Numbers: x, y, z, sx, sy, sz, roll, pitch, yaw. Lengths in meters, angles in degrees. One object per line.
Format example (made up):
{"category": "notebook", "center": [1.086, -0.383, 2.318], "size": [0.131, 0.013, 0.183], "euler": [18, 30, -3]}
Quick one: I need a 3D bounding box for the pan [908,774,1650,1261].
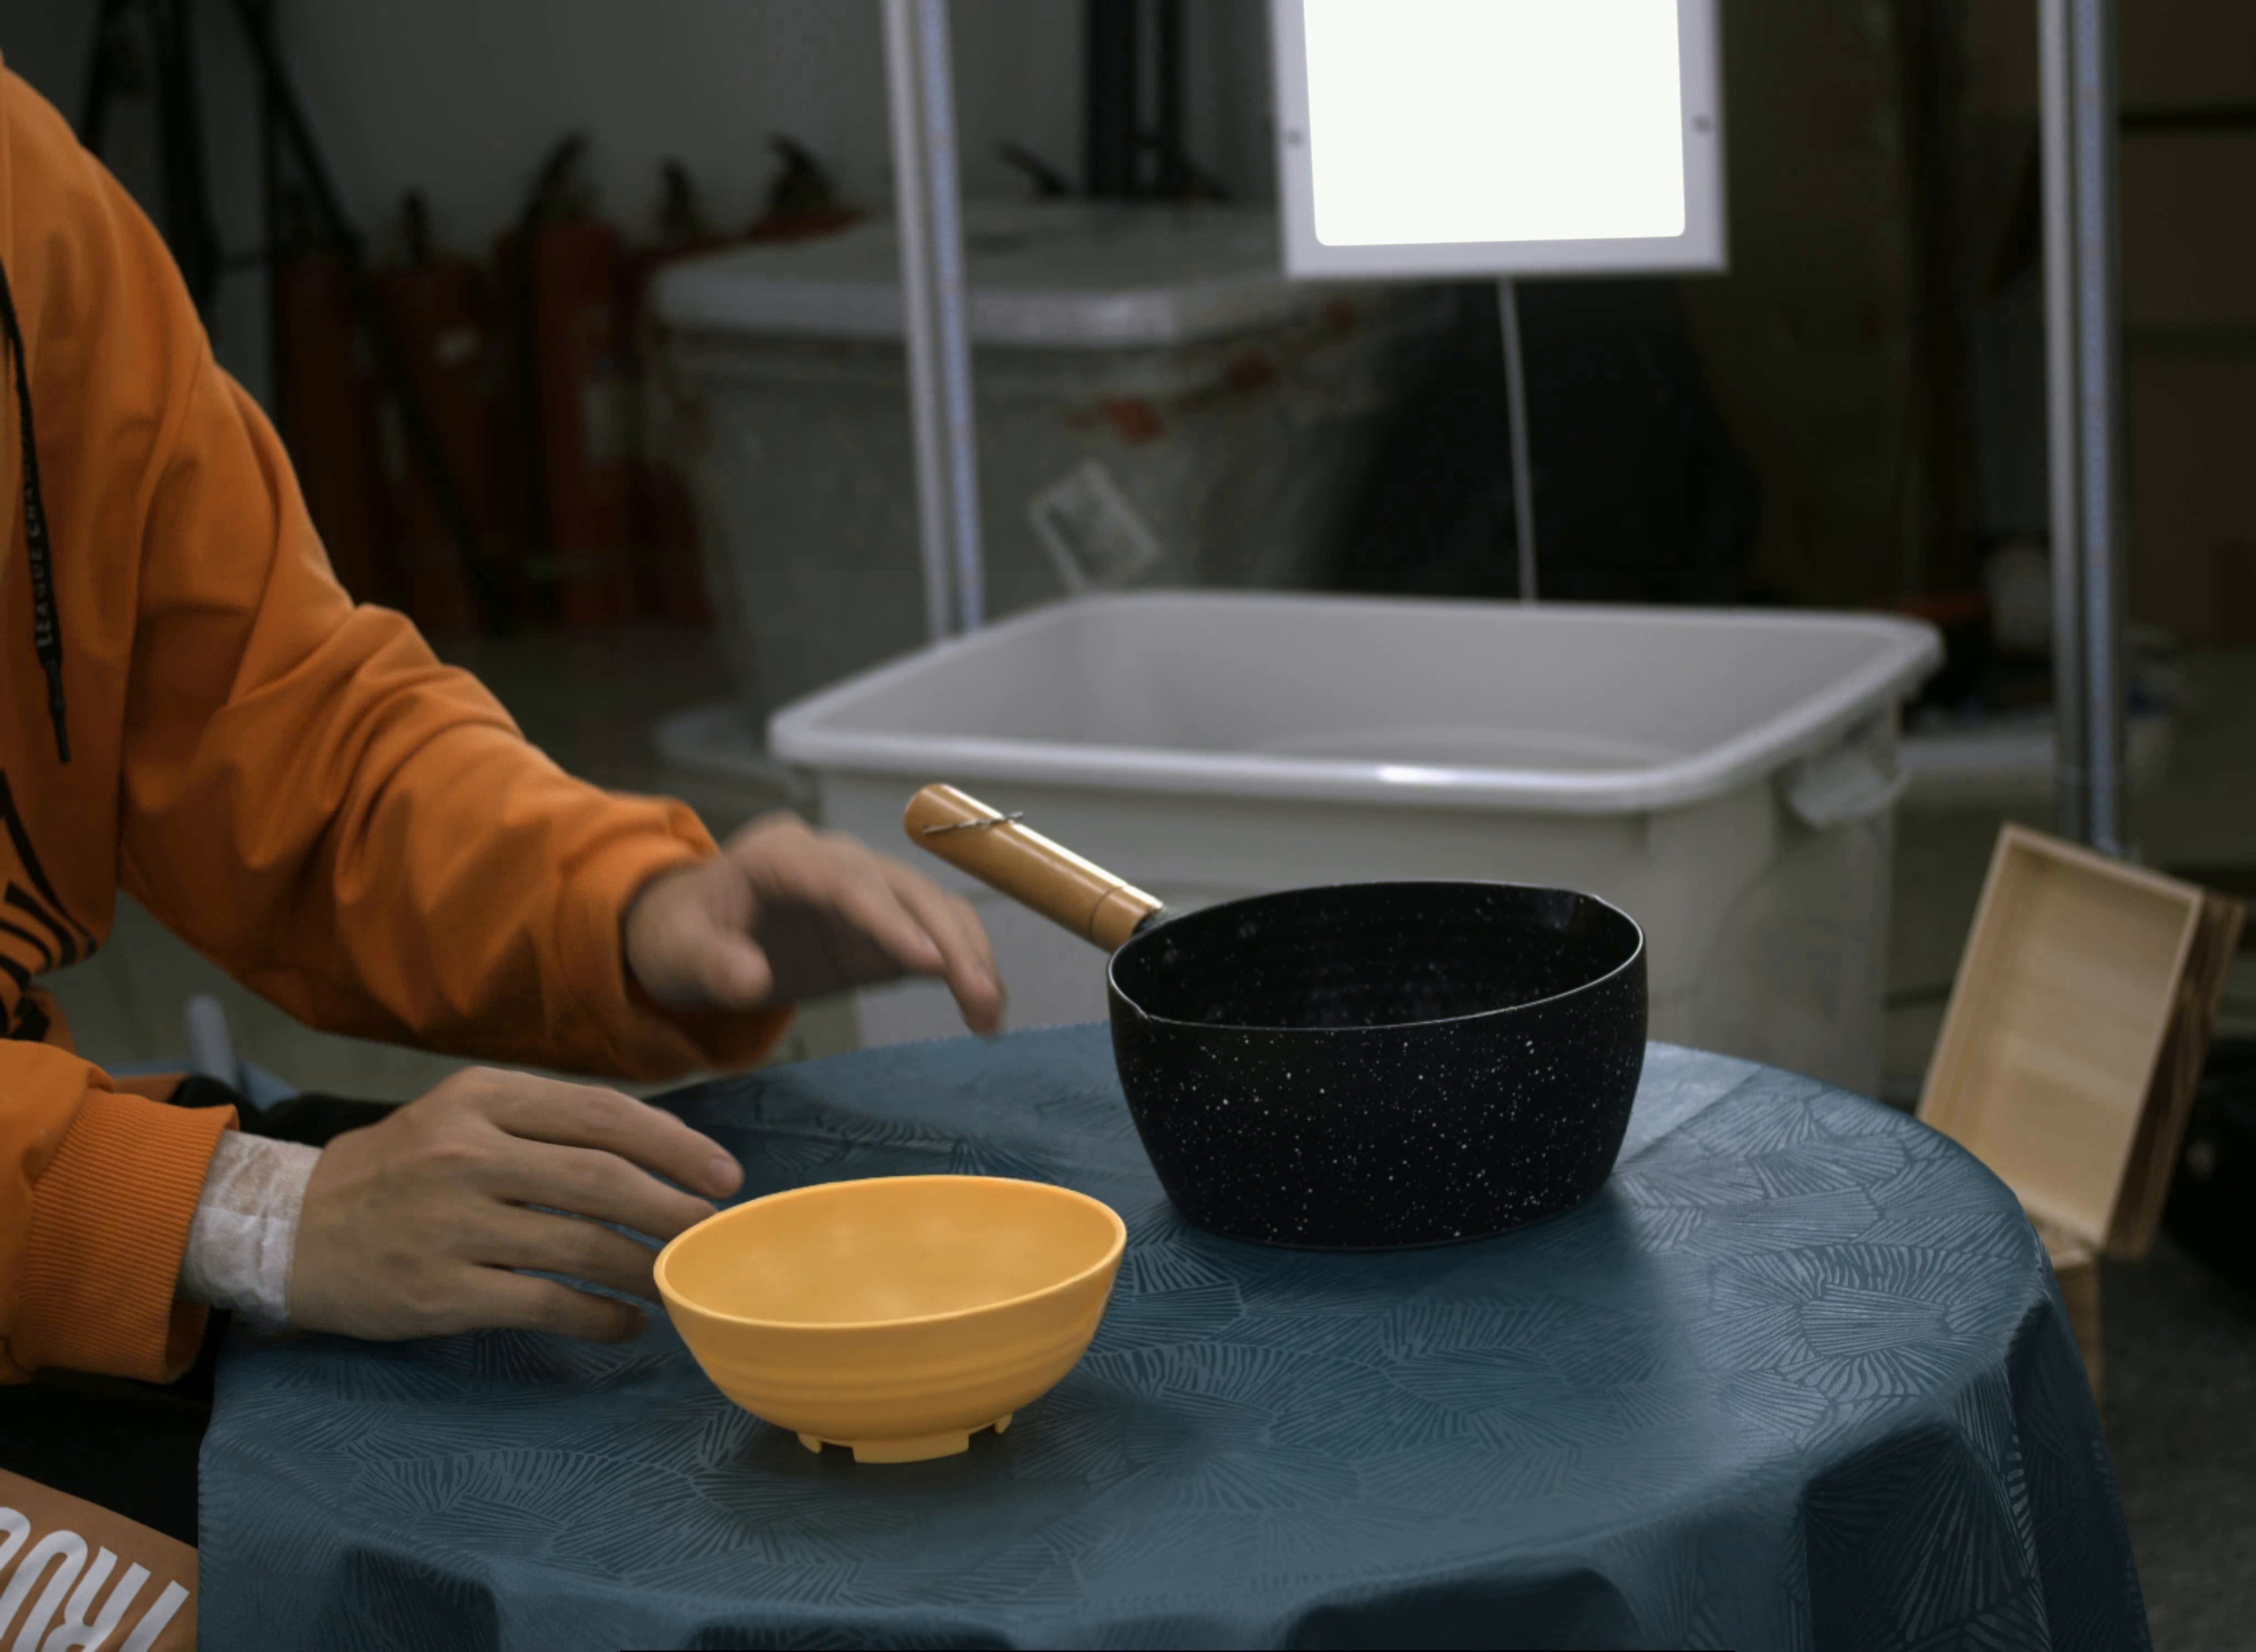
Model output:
{"category": "pan", "center": [0.035, 0.060, 1.928], "size": [0.202, 0.108, 0.350], "euler": [-17, 20, -37]}

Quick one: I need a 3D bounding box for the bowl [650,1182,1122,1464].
{"category": "bowl", "center": [-0.072, 0.156, 1.681], "size": [0.145, 0.060, 0.145], "euler": [-5, 13, 0]}
